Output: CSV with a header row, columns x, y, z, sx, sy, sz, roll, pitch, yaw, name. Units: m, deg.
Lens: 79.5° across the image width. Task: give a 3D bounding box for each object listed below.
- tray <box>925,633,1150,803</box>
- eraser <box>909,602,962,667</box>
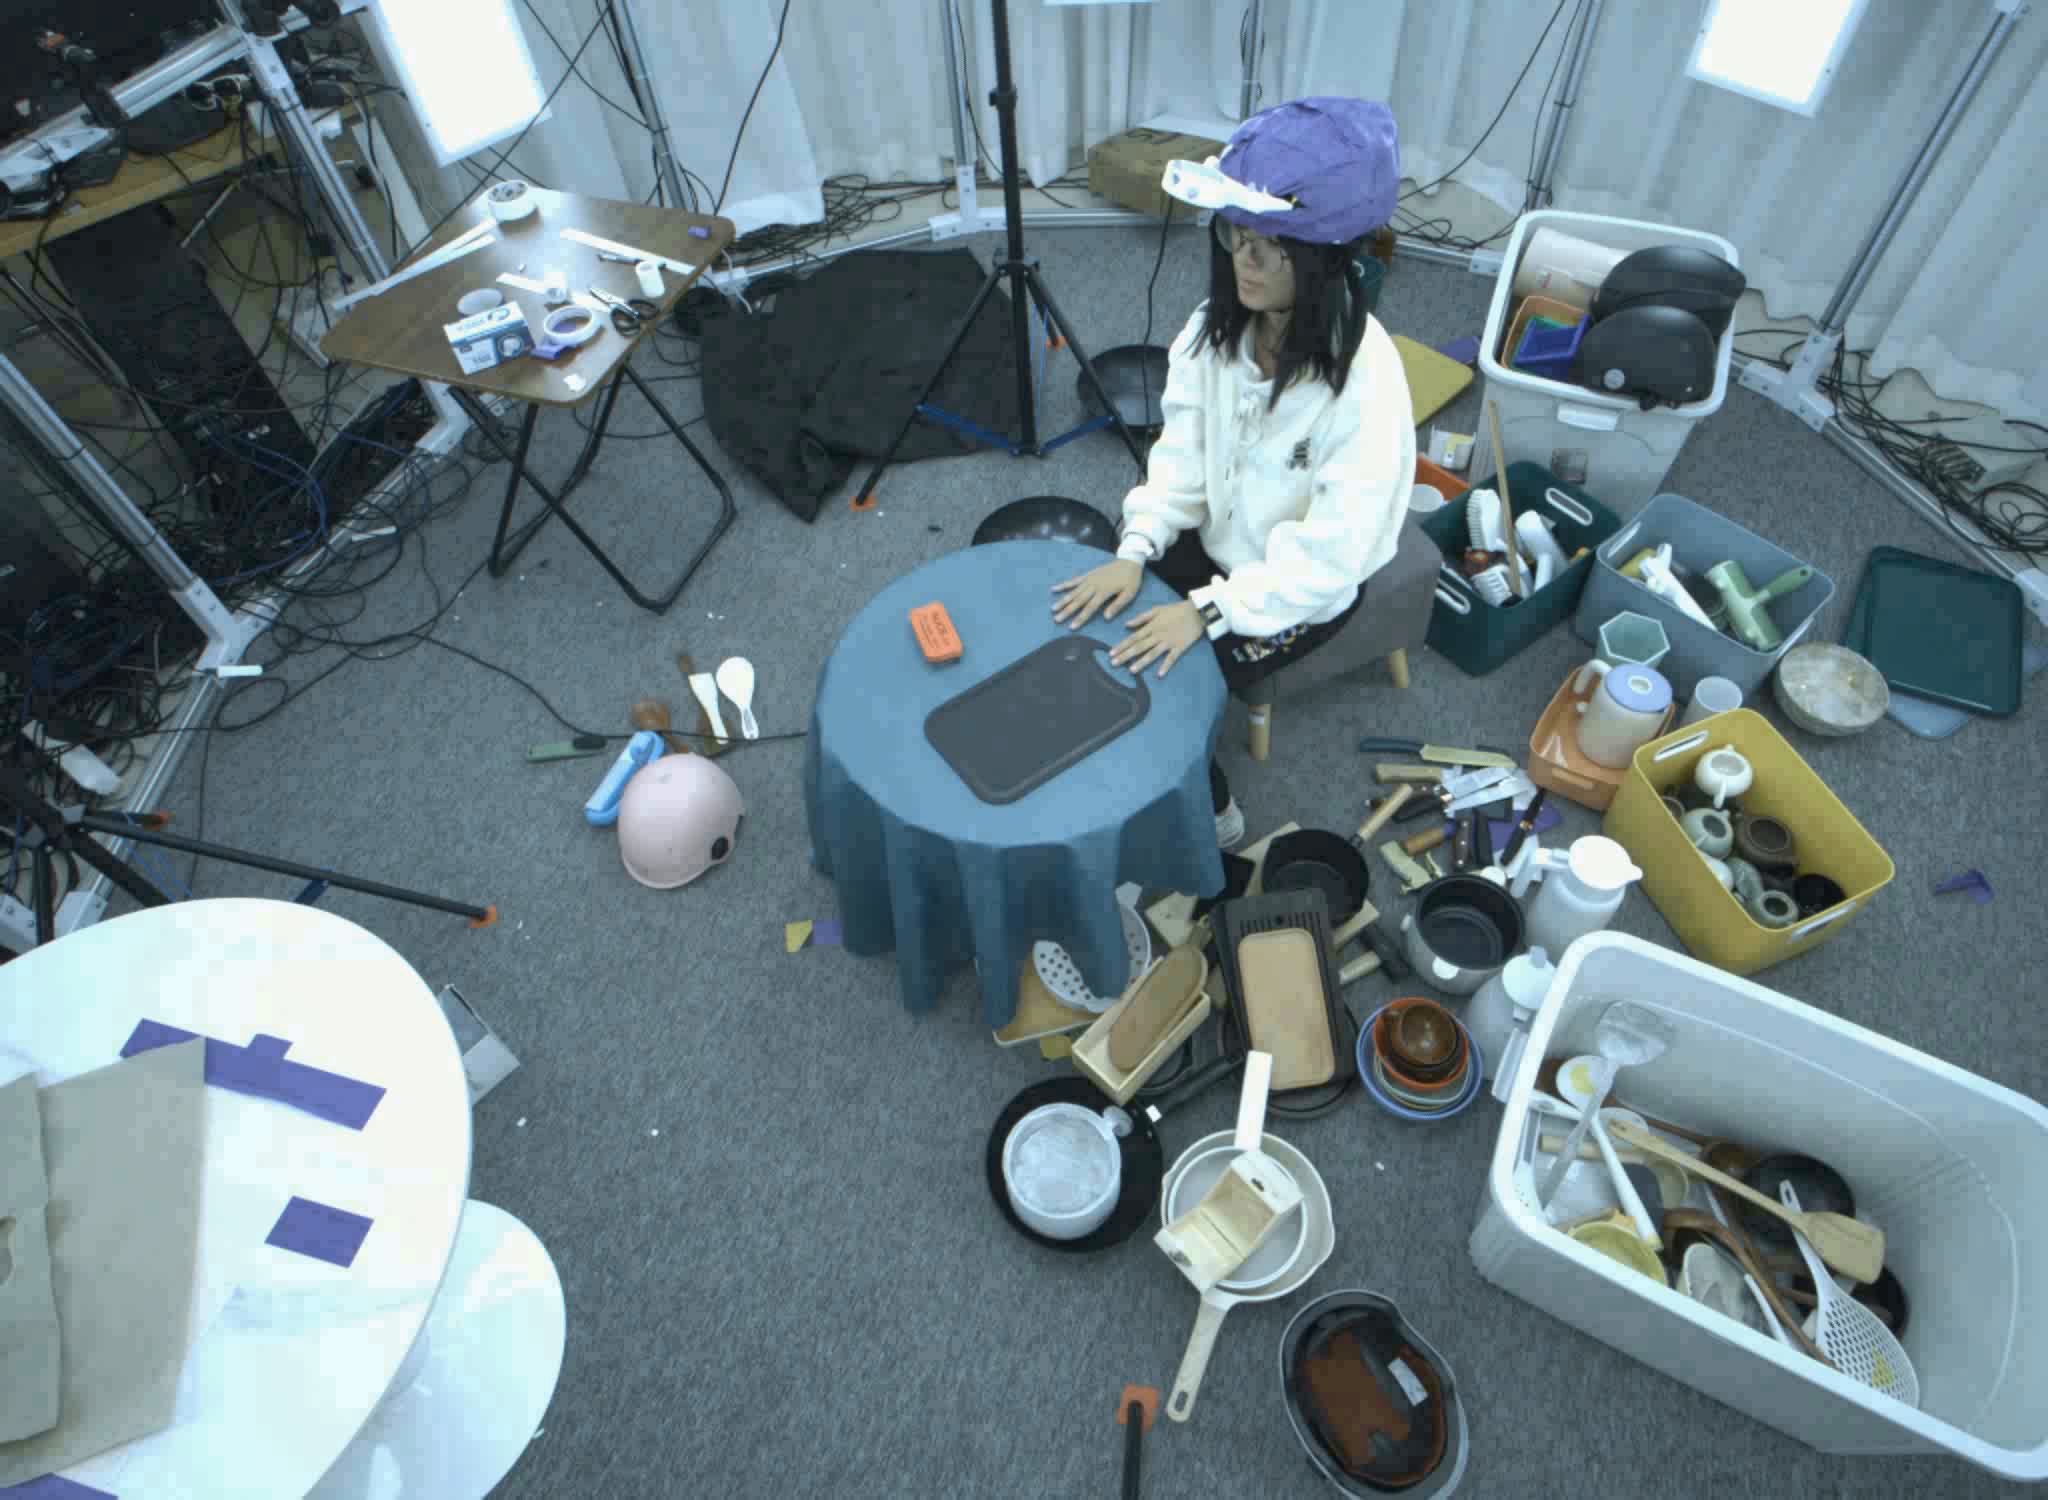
x,y,z,sx,sy,sz,roll,pitch,yaw,name
0.026,-0.058,1.824,0.328,0.010,0.207,-32,60,-19,tray
-0.139,-0.181,1.906,0.059,0.023,0.106,-19,57,-10,eraser
